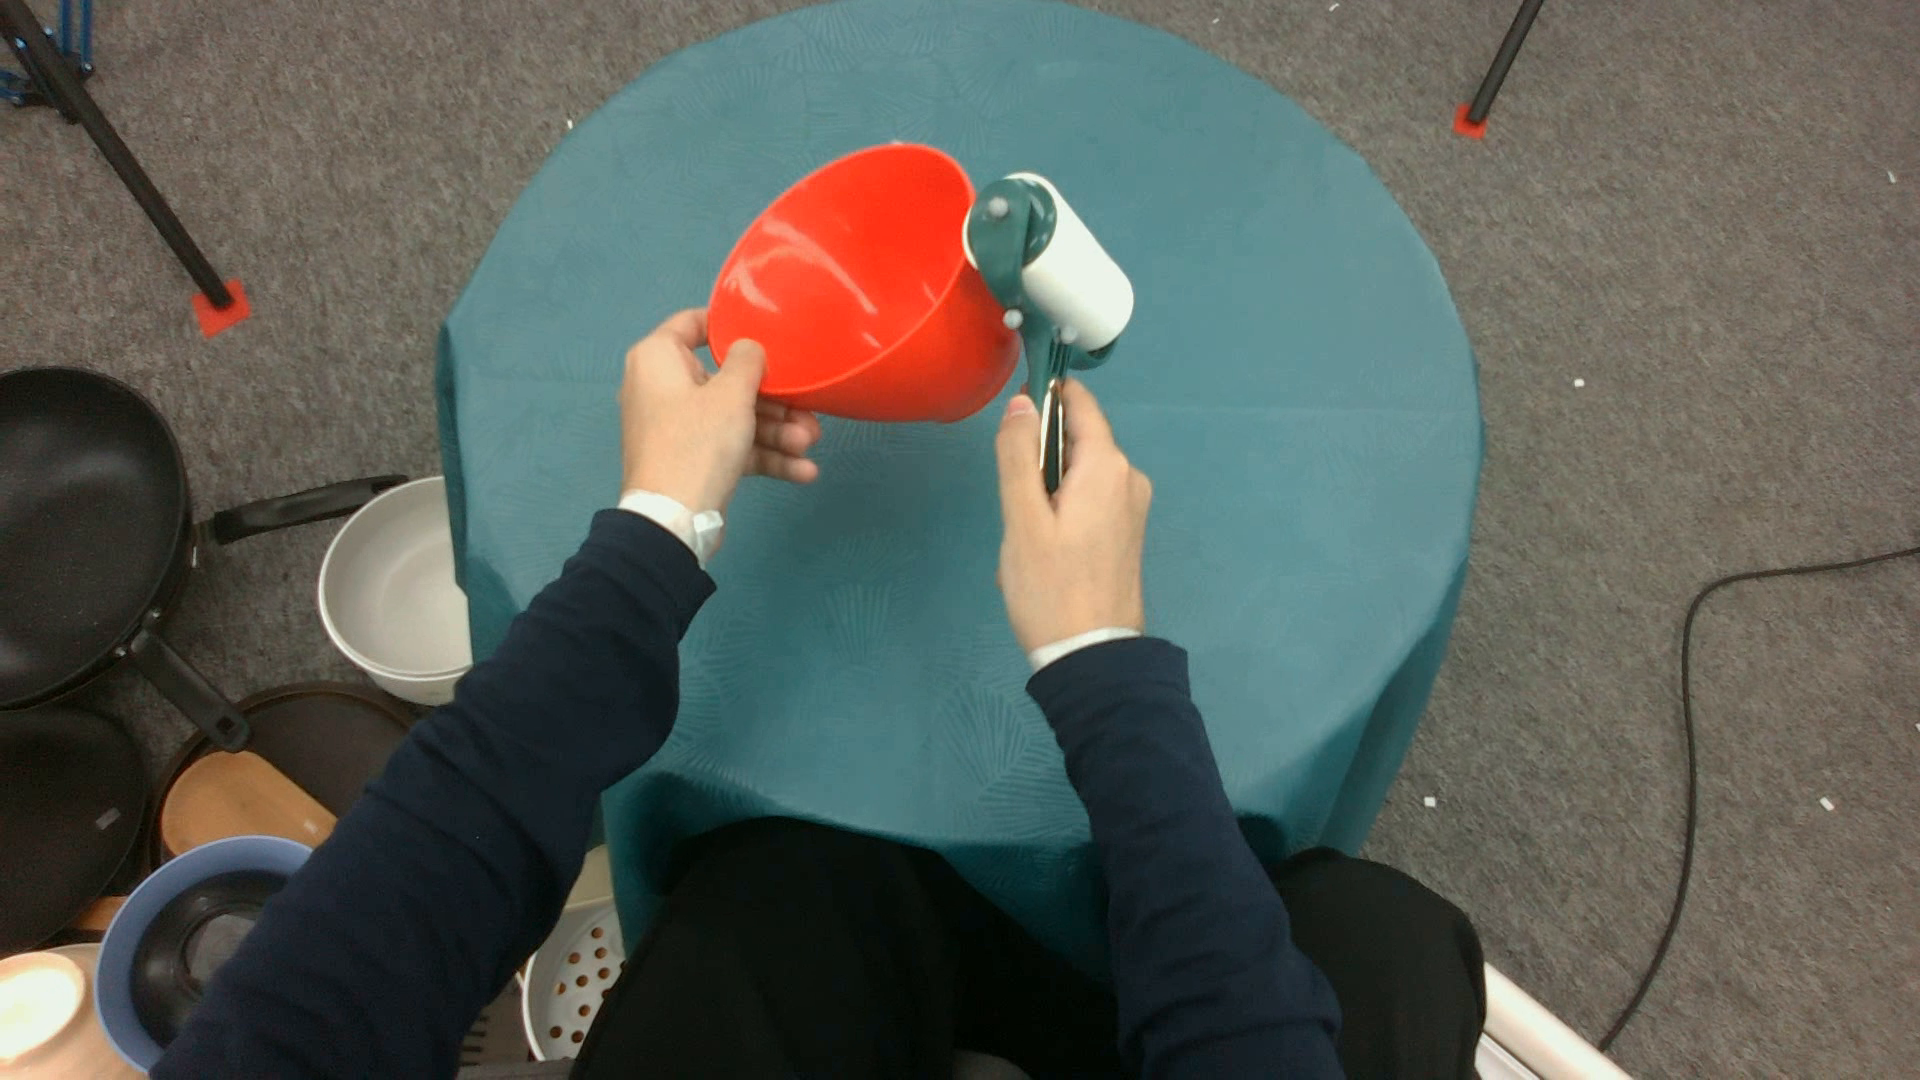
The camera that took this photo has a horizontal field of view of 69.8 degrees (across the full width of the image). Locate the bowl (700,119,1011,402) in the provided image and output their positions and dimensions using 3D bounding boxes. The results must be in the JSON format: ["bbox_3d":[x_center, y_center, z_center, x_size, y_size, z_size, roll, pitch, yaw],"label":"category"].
[{"bbox_3d":[-0.039,-0.122,0.676,0.147,0.104,0.148,-23,50,30],"label":"bowl"}]

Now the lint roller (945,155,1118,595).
[{"bbox_3d":[0.035,-0.066,0.622,0.048,0.134,0.180,-6,77,24],"label":"lint roller"}]
